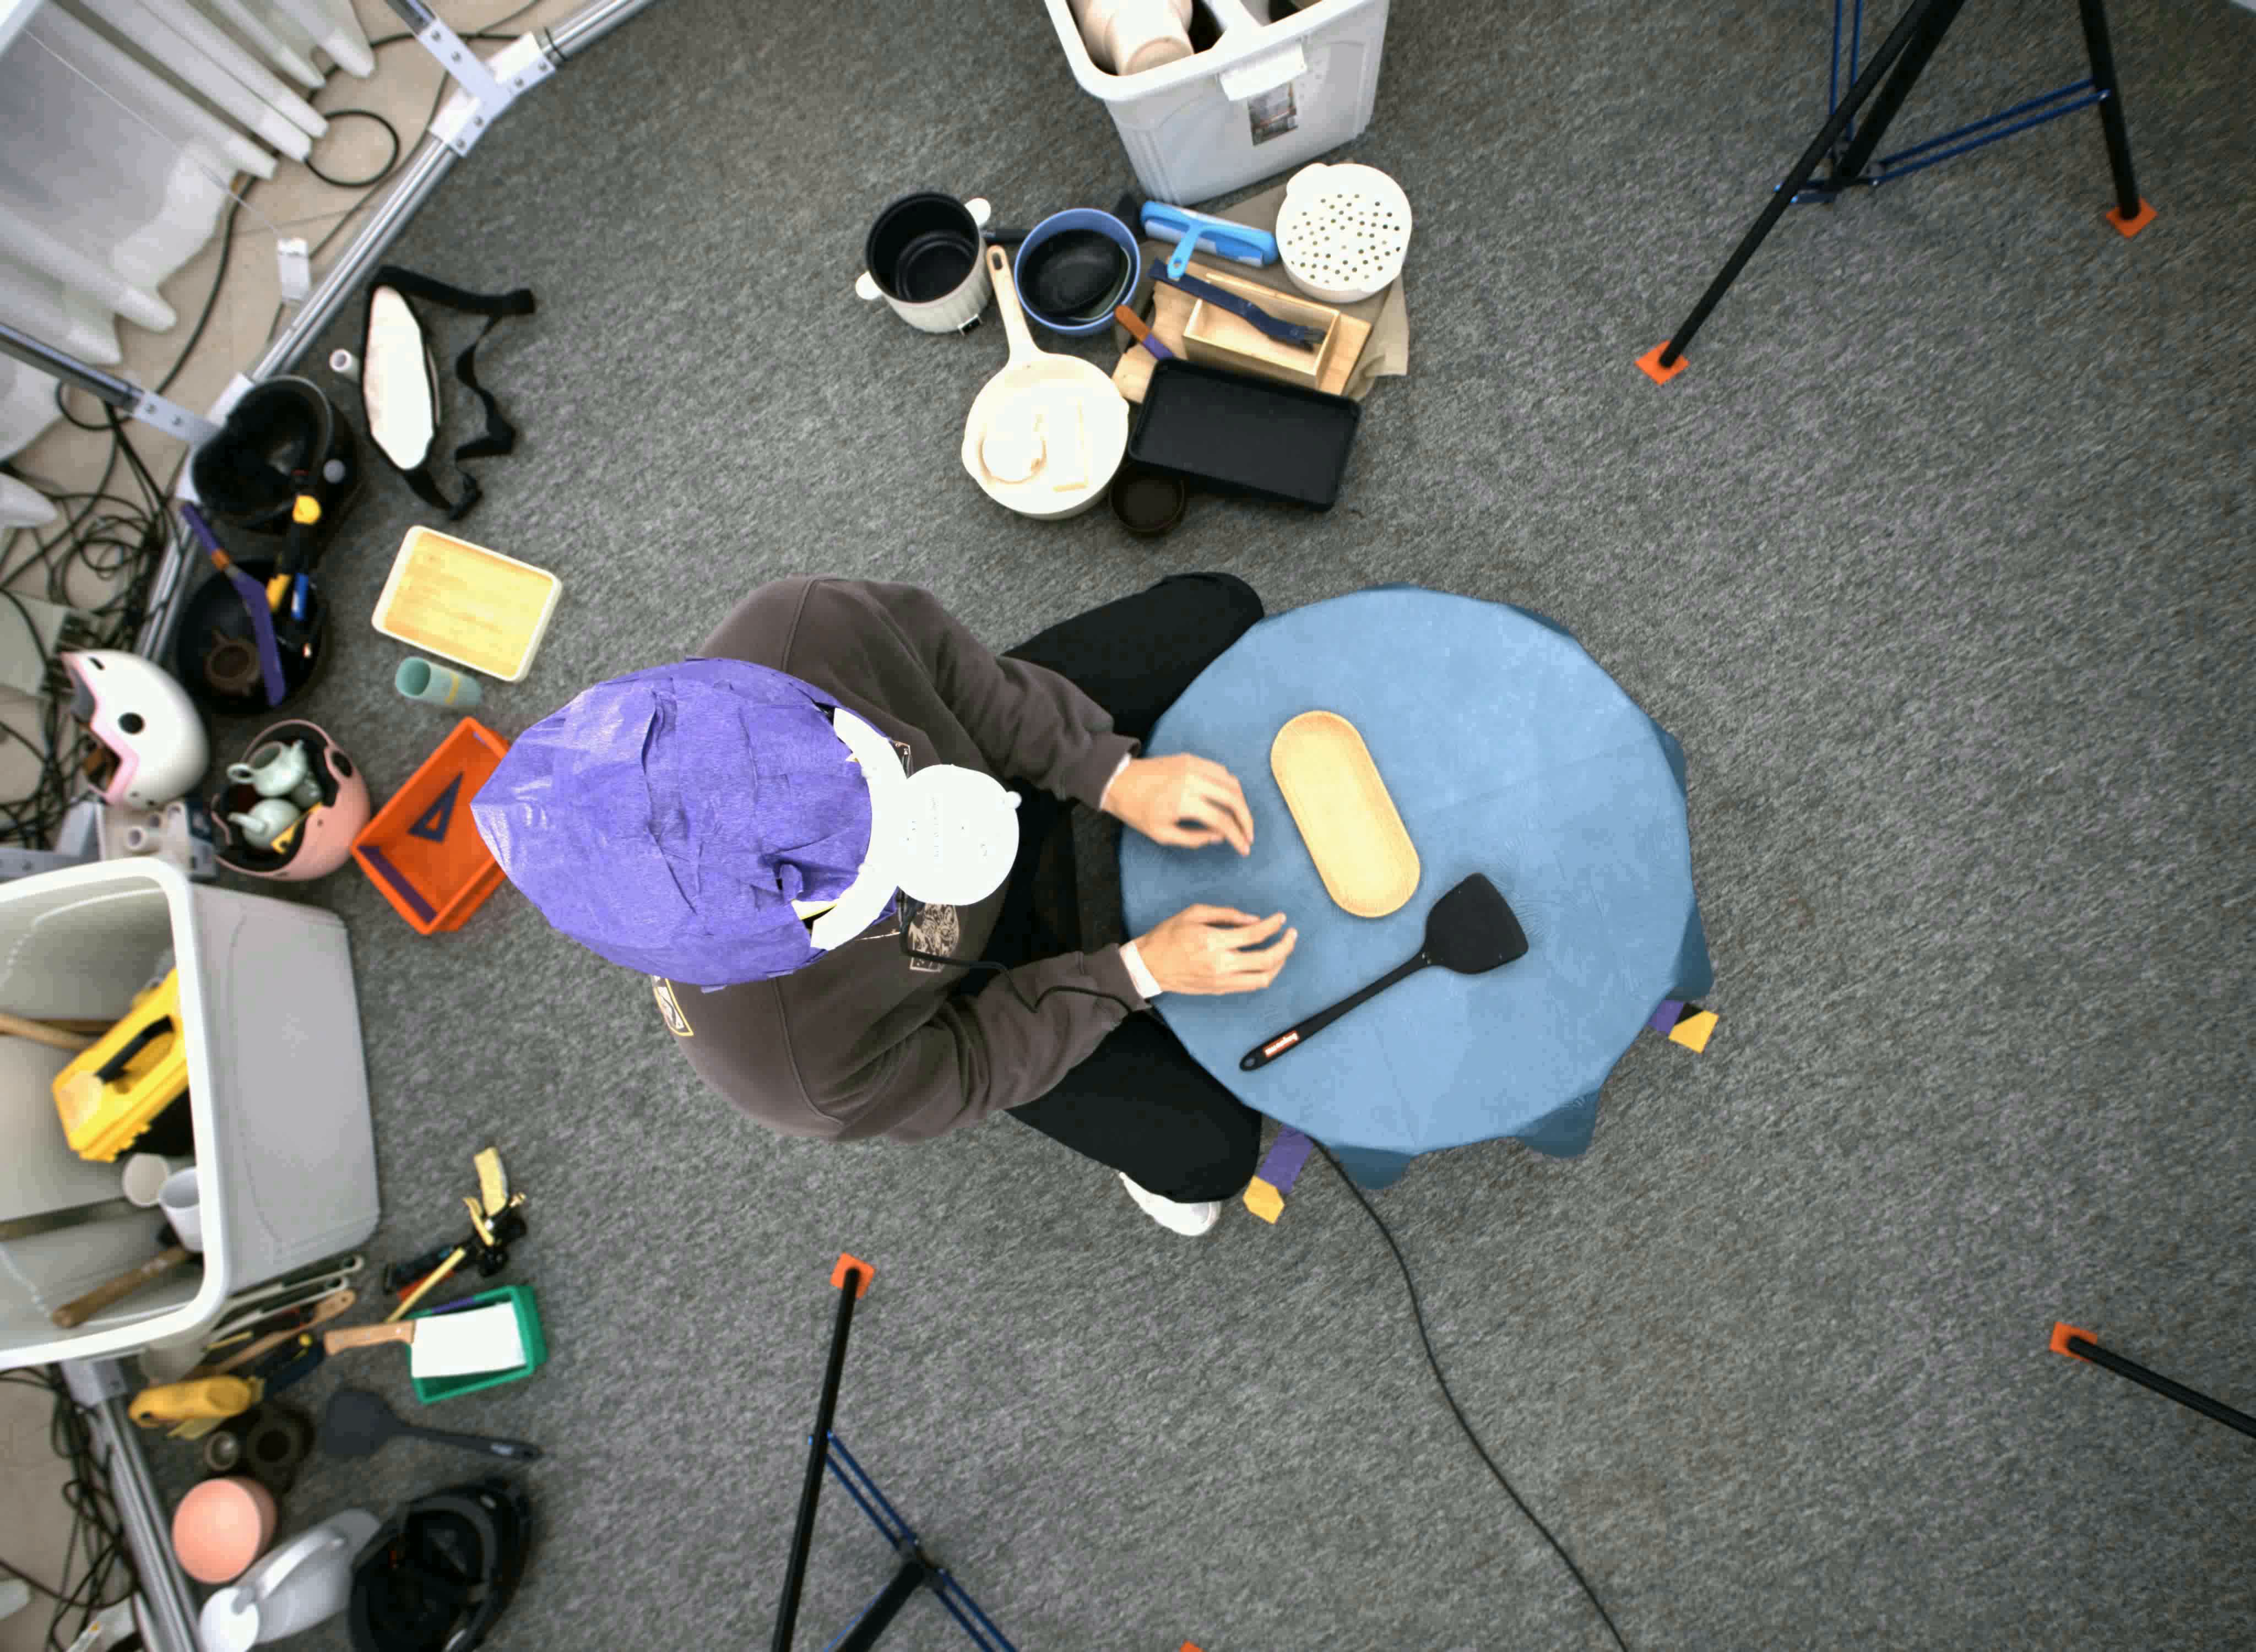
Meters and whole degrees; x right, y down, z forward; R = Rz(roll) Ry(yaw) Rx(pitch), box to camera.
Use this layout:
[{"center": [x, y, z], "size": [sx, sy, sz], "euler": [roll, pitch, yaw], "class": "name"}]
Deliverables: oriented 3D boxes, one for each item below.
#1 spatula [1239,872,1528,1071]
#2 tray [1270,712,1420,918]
[{"center": [0.253, 0.168, 1.438], "size": [0.328, 0.040, 0.099], "euler": [-32, 81, 7], "class": "spatula"}, {"center": [0.229, -0.013, 1.461], "size": [0.102, 0.020, 0.230], "euler": [-25, 84, 9], "class": "tray"}]
